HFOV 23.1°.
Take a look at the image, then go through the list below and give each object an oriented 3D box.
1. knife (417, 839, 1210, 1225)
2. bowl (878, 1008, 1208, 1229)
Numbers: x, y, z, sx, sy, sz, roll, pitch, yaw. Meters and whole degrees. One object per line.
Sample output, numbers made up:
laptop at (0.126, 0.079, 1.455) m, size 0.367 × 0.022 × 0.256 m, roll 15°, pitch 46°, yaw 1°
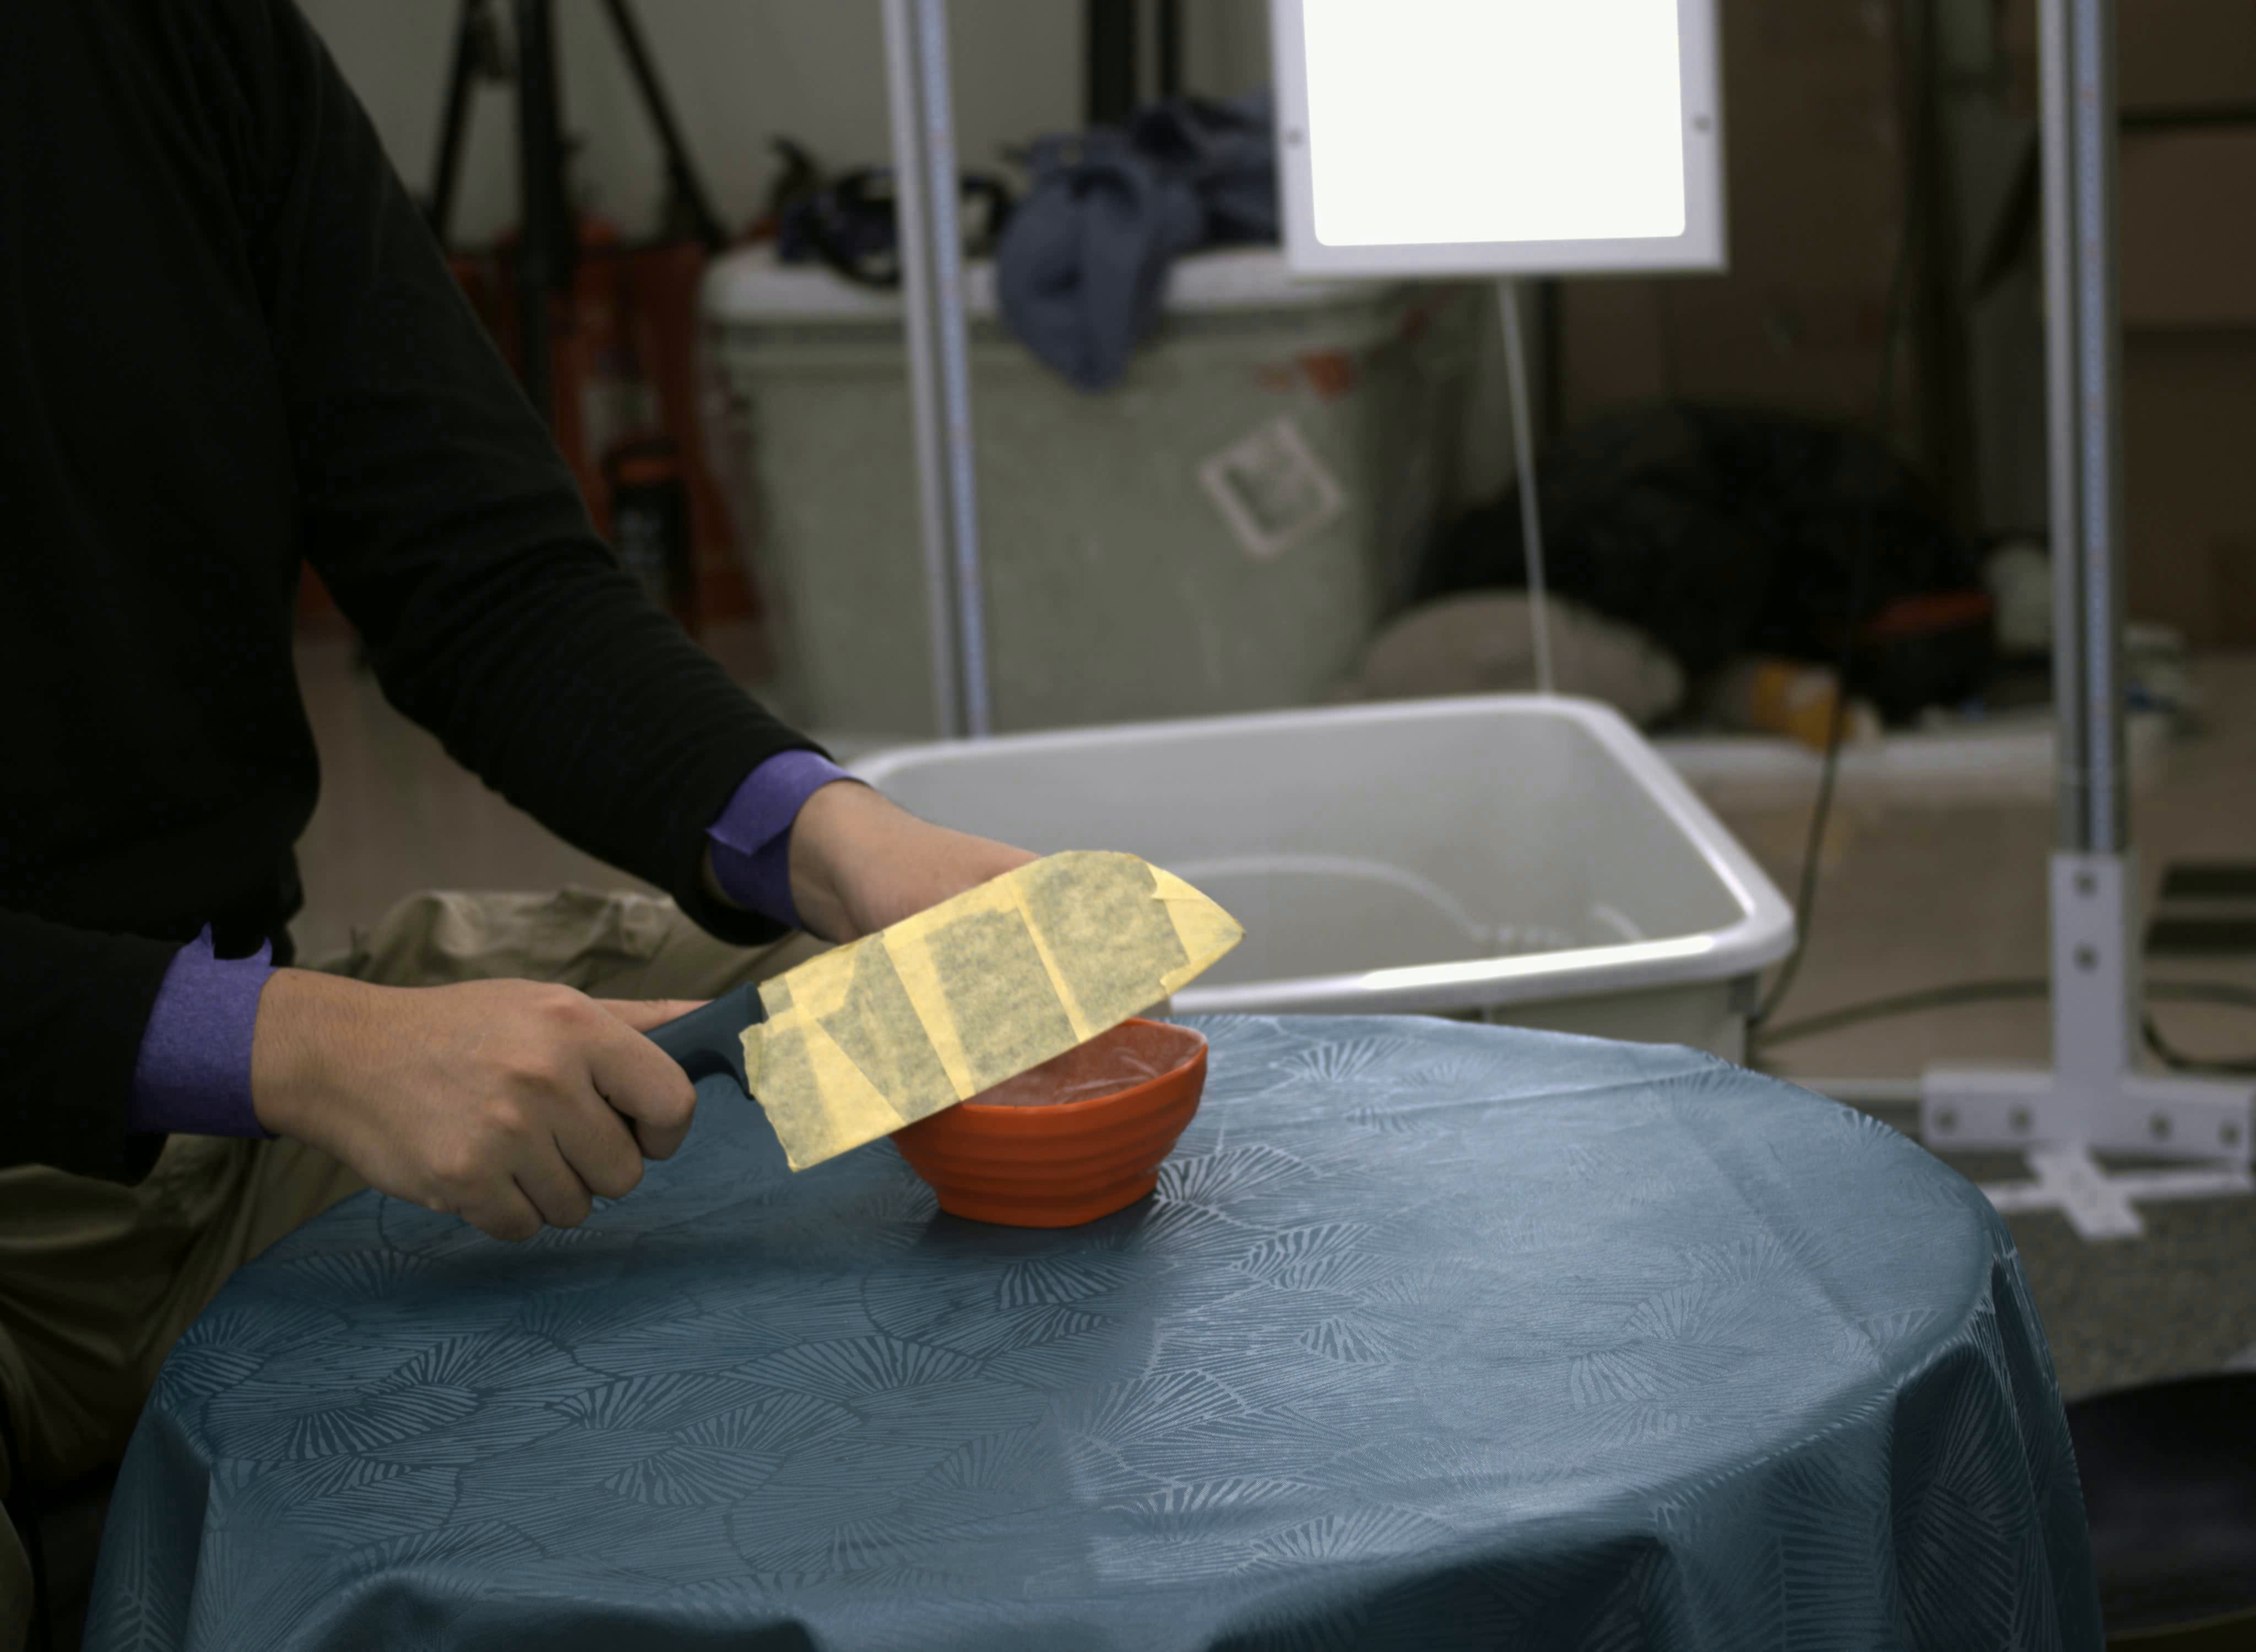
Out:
knife at (-0.105, 0.078, 1.870) m, size 0.290 × 0.027 × 0.081 m, roll -24°, pitch 57°, yaw 3°
bowl at (-0.029, 0.103, 1.897) m, size 0.118 × 0.051 × 0.119 m, roll -5°, pitch 15°, yaw 0°
